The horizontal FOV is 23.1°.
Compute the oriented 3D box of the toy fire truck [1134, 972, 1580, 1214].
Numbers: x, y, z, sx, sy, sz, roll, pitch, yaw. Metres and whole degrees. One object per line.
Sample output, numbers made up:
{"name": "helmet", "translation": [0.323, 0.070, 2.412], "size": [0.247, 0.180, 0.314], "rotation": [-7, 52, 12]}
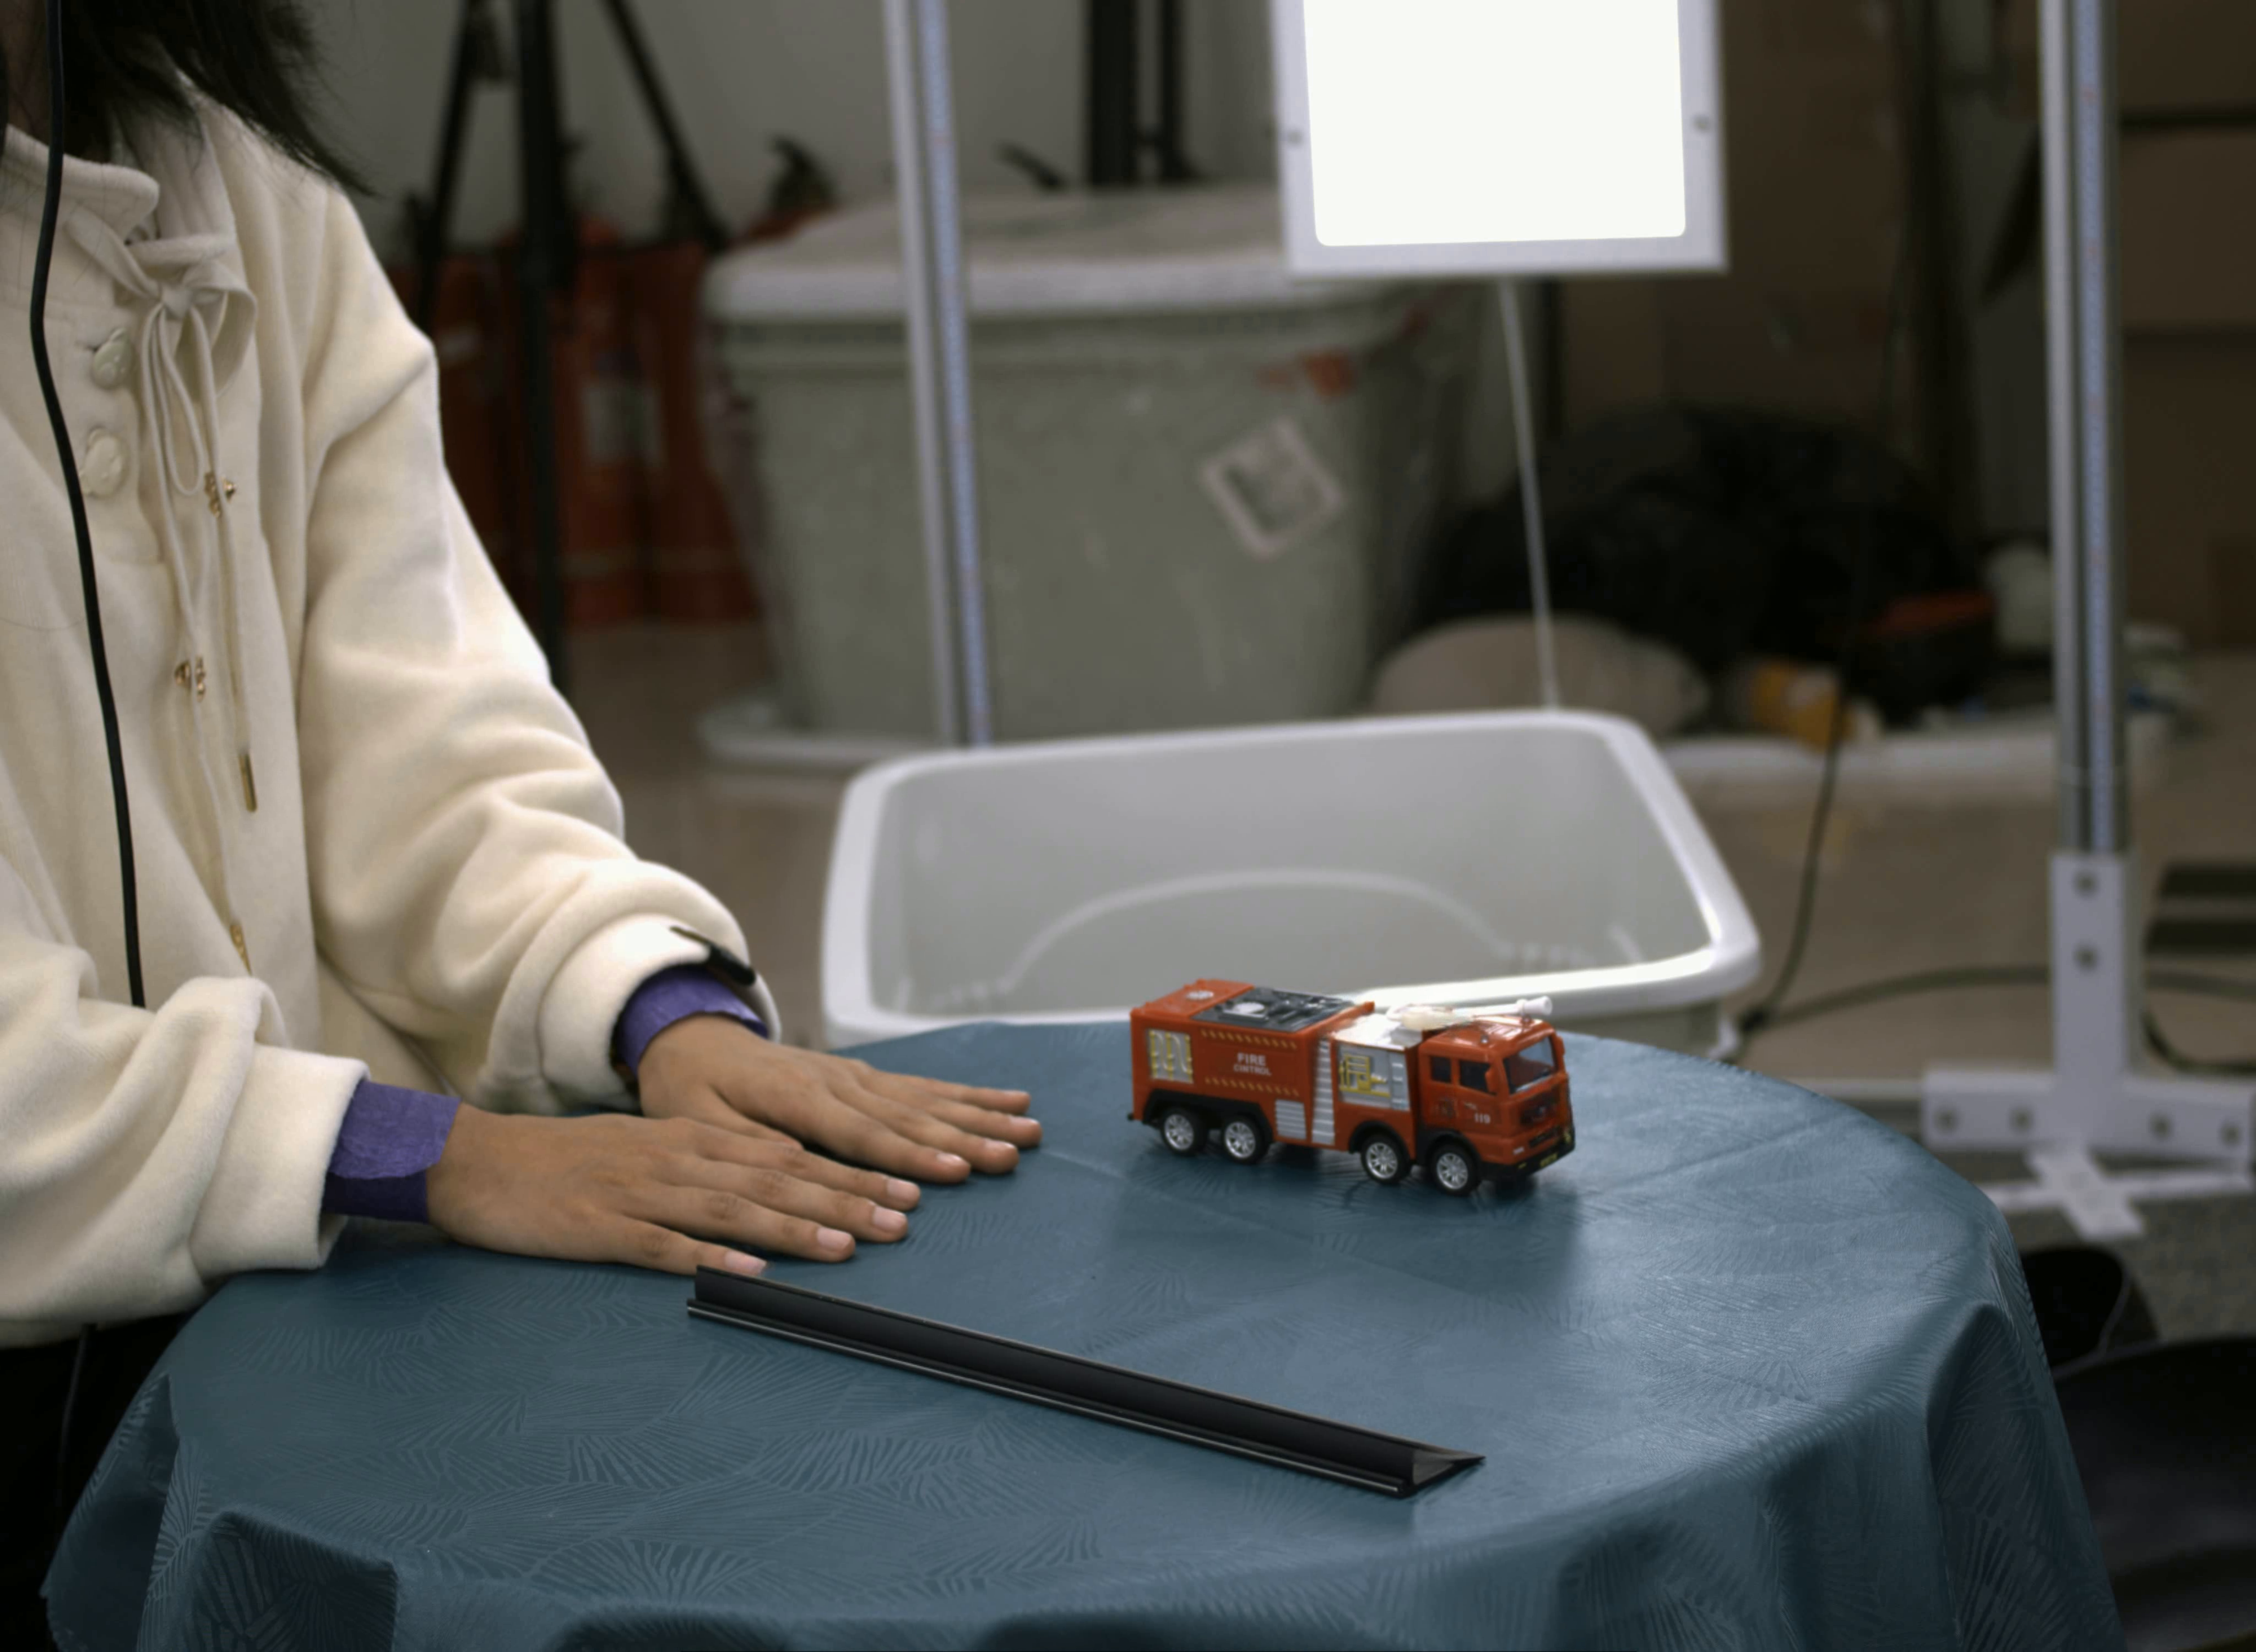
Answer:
{"name": "toy fire truck", "translation": [0.078, 0.088, 1.904], "size": [0.171, 0.070, 0.052], "rotation": [4, 17, 39]}

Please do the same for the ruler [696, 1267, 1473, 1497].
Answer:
{"name": "ruler", "translation": [-0.019, 0.166, 1.710], "size": [0.038, 0.017, 0.319], "rotation": [-14, 15, -42]}
